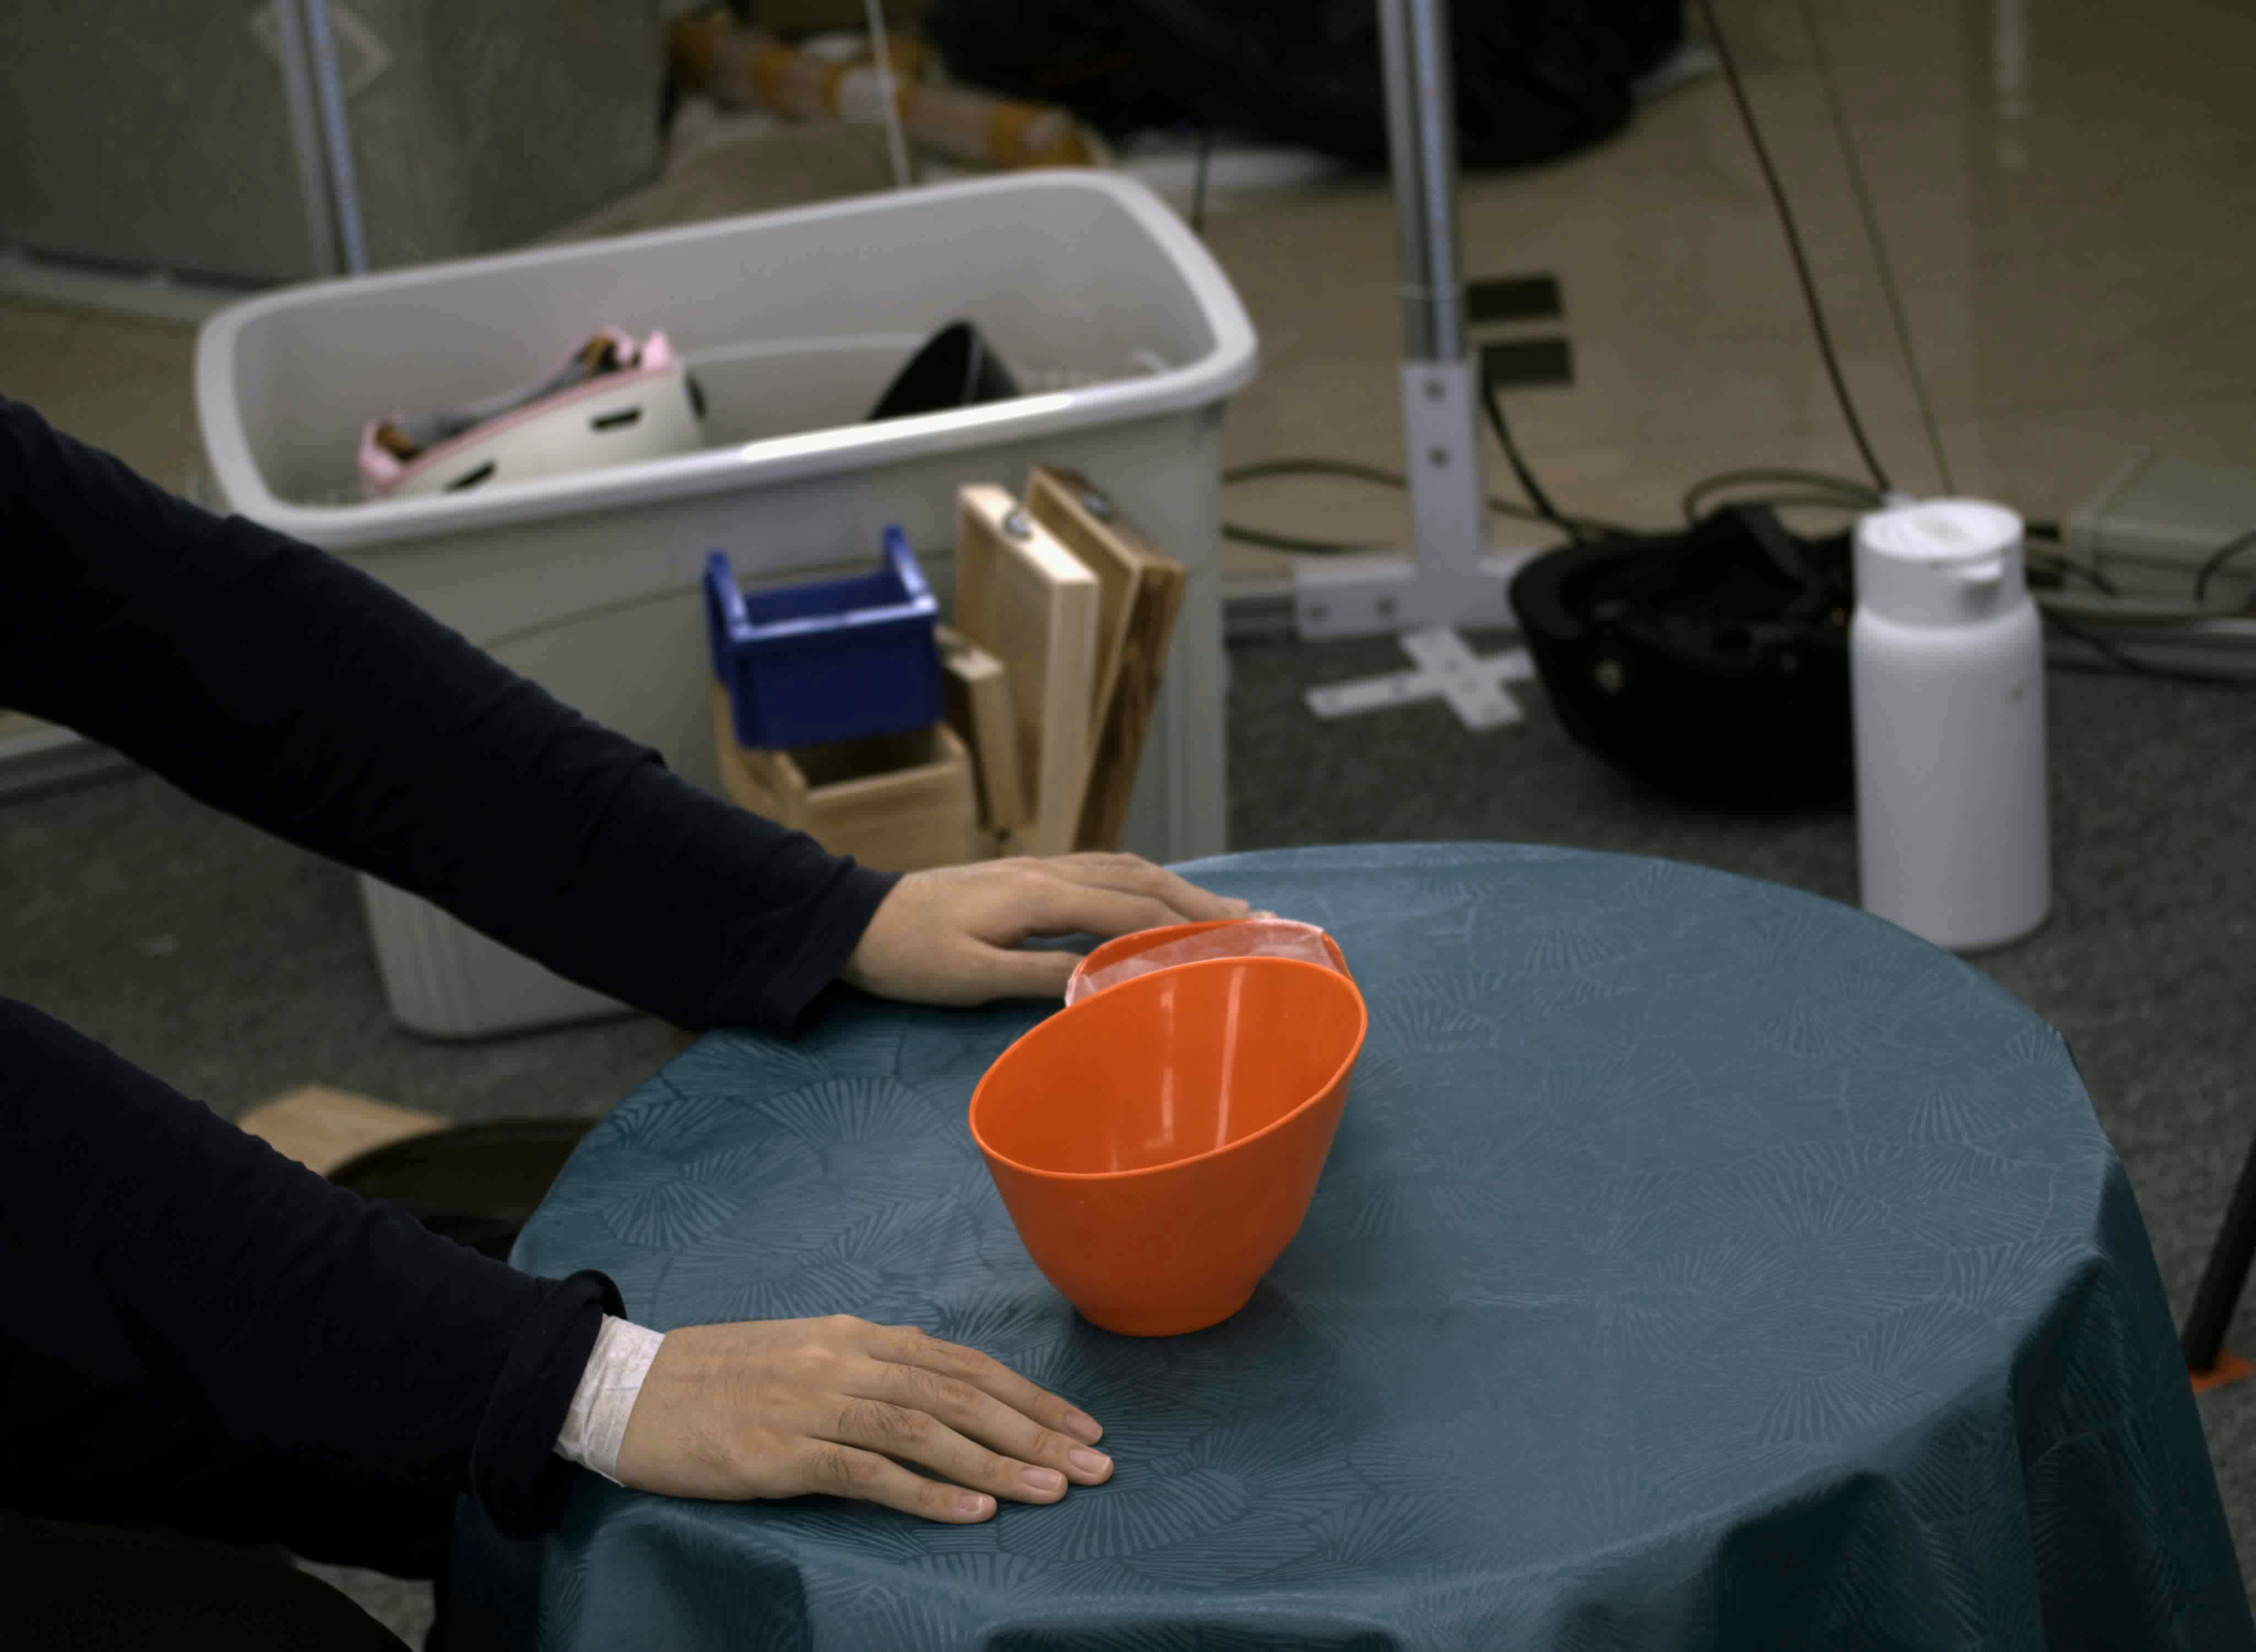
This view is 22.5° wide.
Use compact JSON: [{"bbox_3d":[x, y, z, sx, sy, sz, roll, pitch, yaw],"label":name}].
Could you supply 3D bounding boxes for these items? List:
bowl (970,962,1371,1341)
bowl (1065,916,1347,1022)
[{"bbox_3d":[0.019,0.124,2.058,0.148,0.106,0.146,-5,26,3],"label":"bowl"},{"bbox_3d":[0.032,0.082,2.205,0.119,0.052,0.117,-5,26,3],"label":"bowl"}]
